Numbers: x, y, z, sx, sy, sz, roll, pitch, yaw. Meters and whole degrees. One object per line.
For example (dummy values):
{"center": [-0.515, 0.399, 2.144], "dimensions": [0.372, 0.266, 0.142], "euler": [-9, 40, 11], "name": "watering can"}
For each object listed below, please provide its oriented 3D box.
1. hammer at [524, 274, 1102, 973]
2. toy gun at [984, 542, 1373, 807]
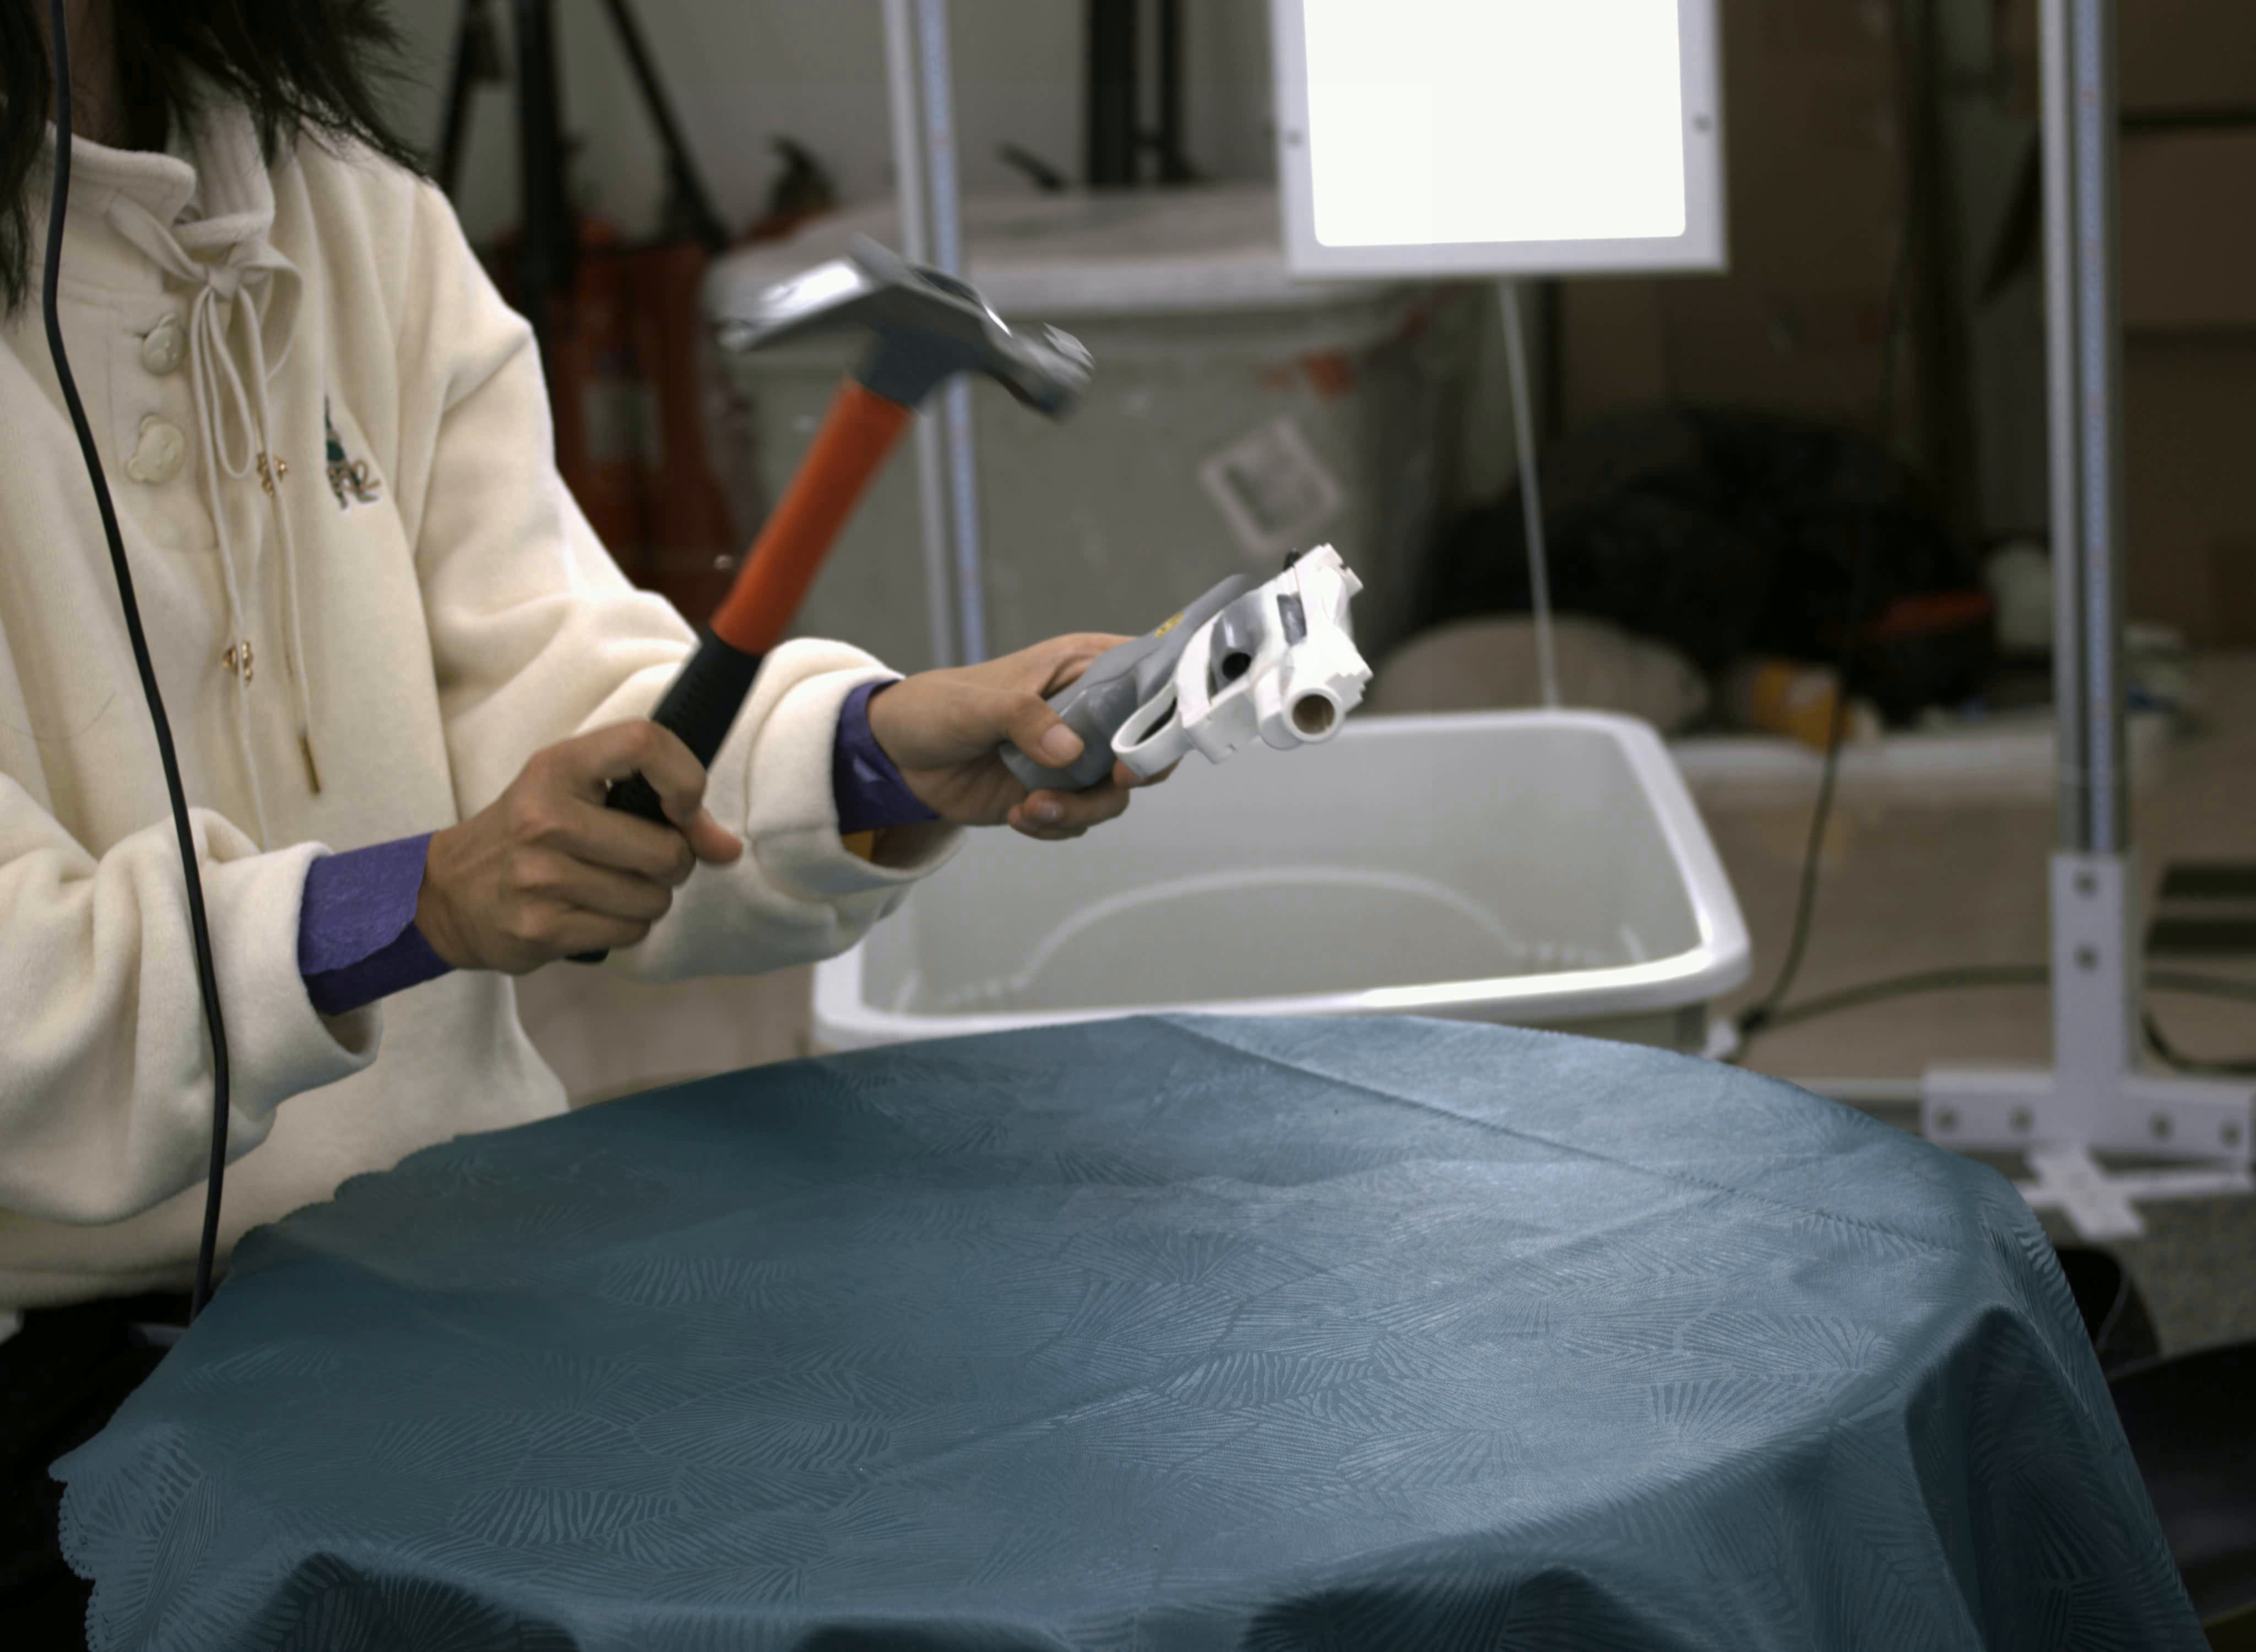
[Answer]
{"center": [-0.122, -0.062, 1.801], "dimensions": [0.108, 0.281, 0.026], "euler": [19, 29, -28], "name": "hammer"}
{"center": [0.017, -0.041, 1.839], "dimensions": [0.142, 0.038, 0.209], "euler": [-36, 14, 8], "name": "toy gun"}
